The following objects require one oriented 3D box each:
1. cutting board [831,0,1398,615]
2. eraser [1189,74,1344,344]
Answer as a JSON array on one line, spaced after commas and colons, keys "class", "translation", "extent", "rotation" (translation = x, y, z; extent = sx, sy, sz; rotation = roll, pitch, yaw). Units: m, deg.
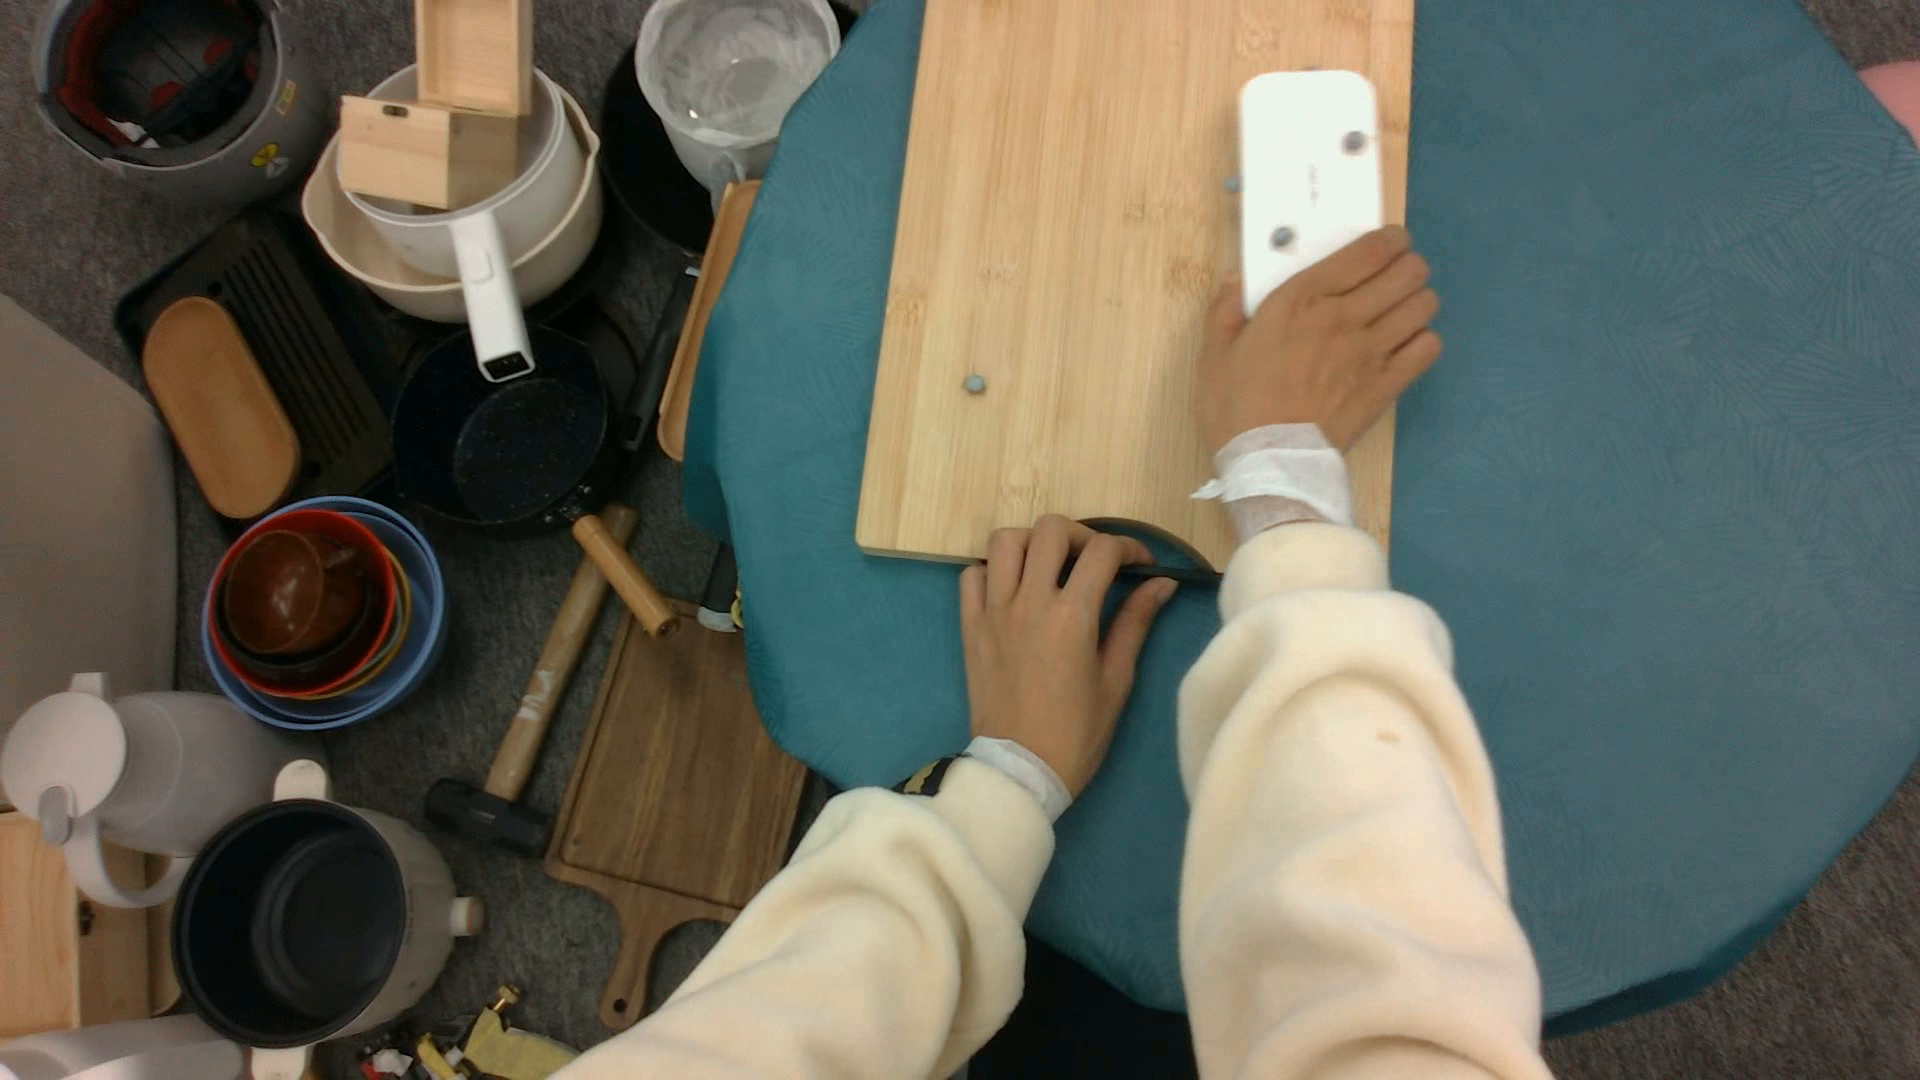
[{"class": "cutting board", "translation": [0.082, -0.145, 0.669], "extent": [0.250, 0.023, 0.349], "rotation": [5, 76, 4]}, {"class": "eraser", "translation": [0.140, -0.156, 0.644], "extent": [0.063, 0.034, 0.131], "rotation": [-2, 75, 2]}]
